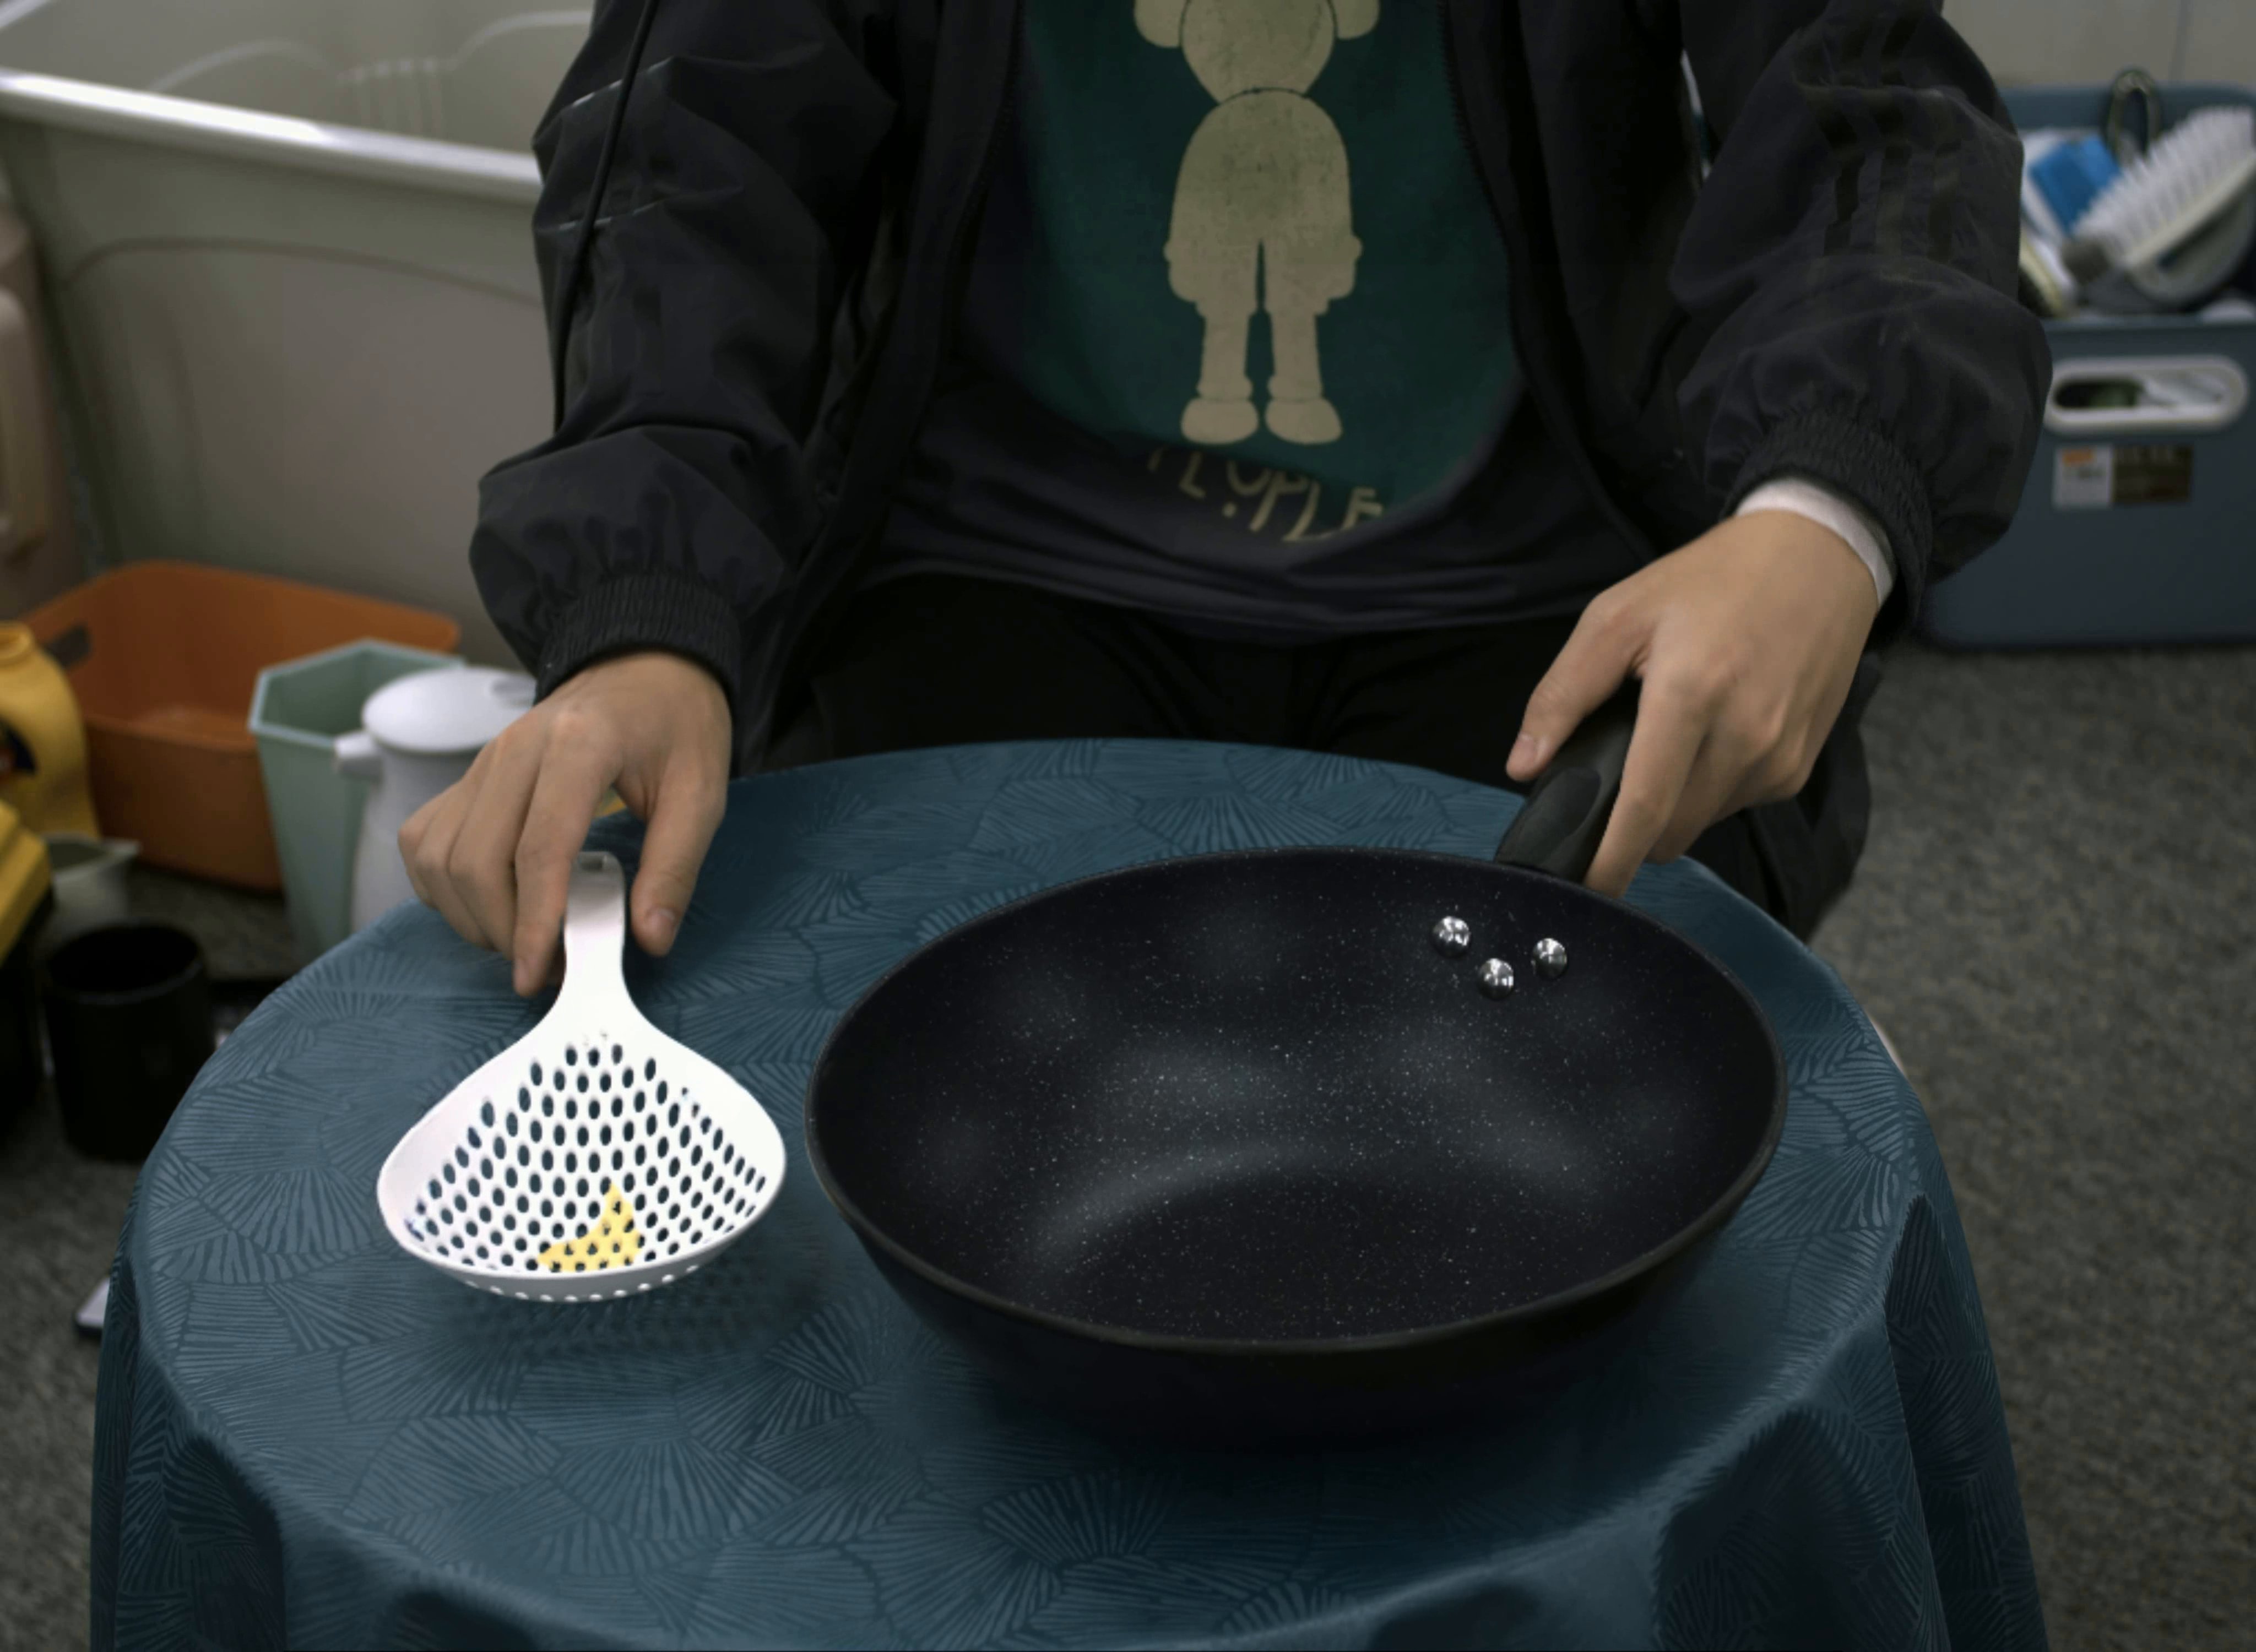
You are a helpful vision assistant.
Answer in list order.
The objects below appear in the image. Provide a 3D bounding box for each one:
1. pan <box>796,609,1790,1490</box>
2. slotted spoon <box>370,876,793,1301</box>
[{"bbox_3d":[0.093,0.074,1.828,0.308,0.110,0.485,14,32,26],"label":"pan"},{"bbox_3d":[-0.183,0.077,1.918,0.136,0.050,0.353,-5,27,-2],"label":"slotted spoon"}]
